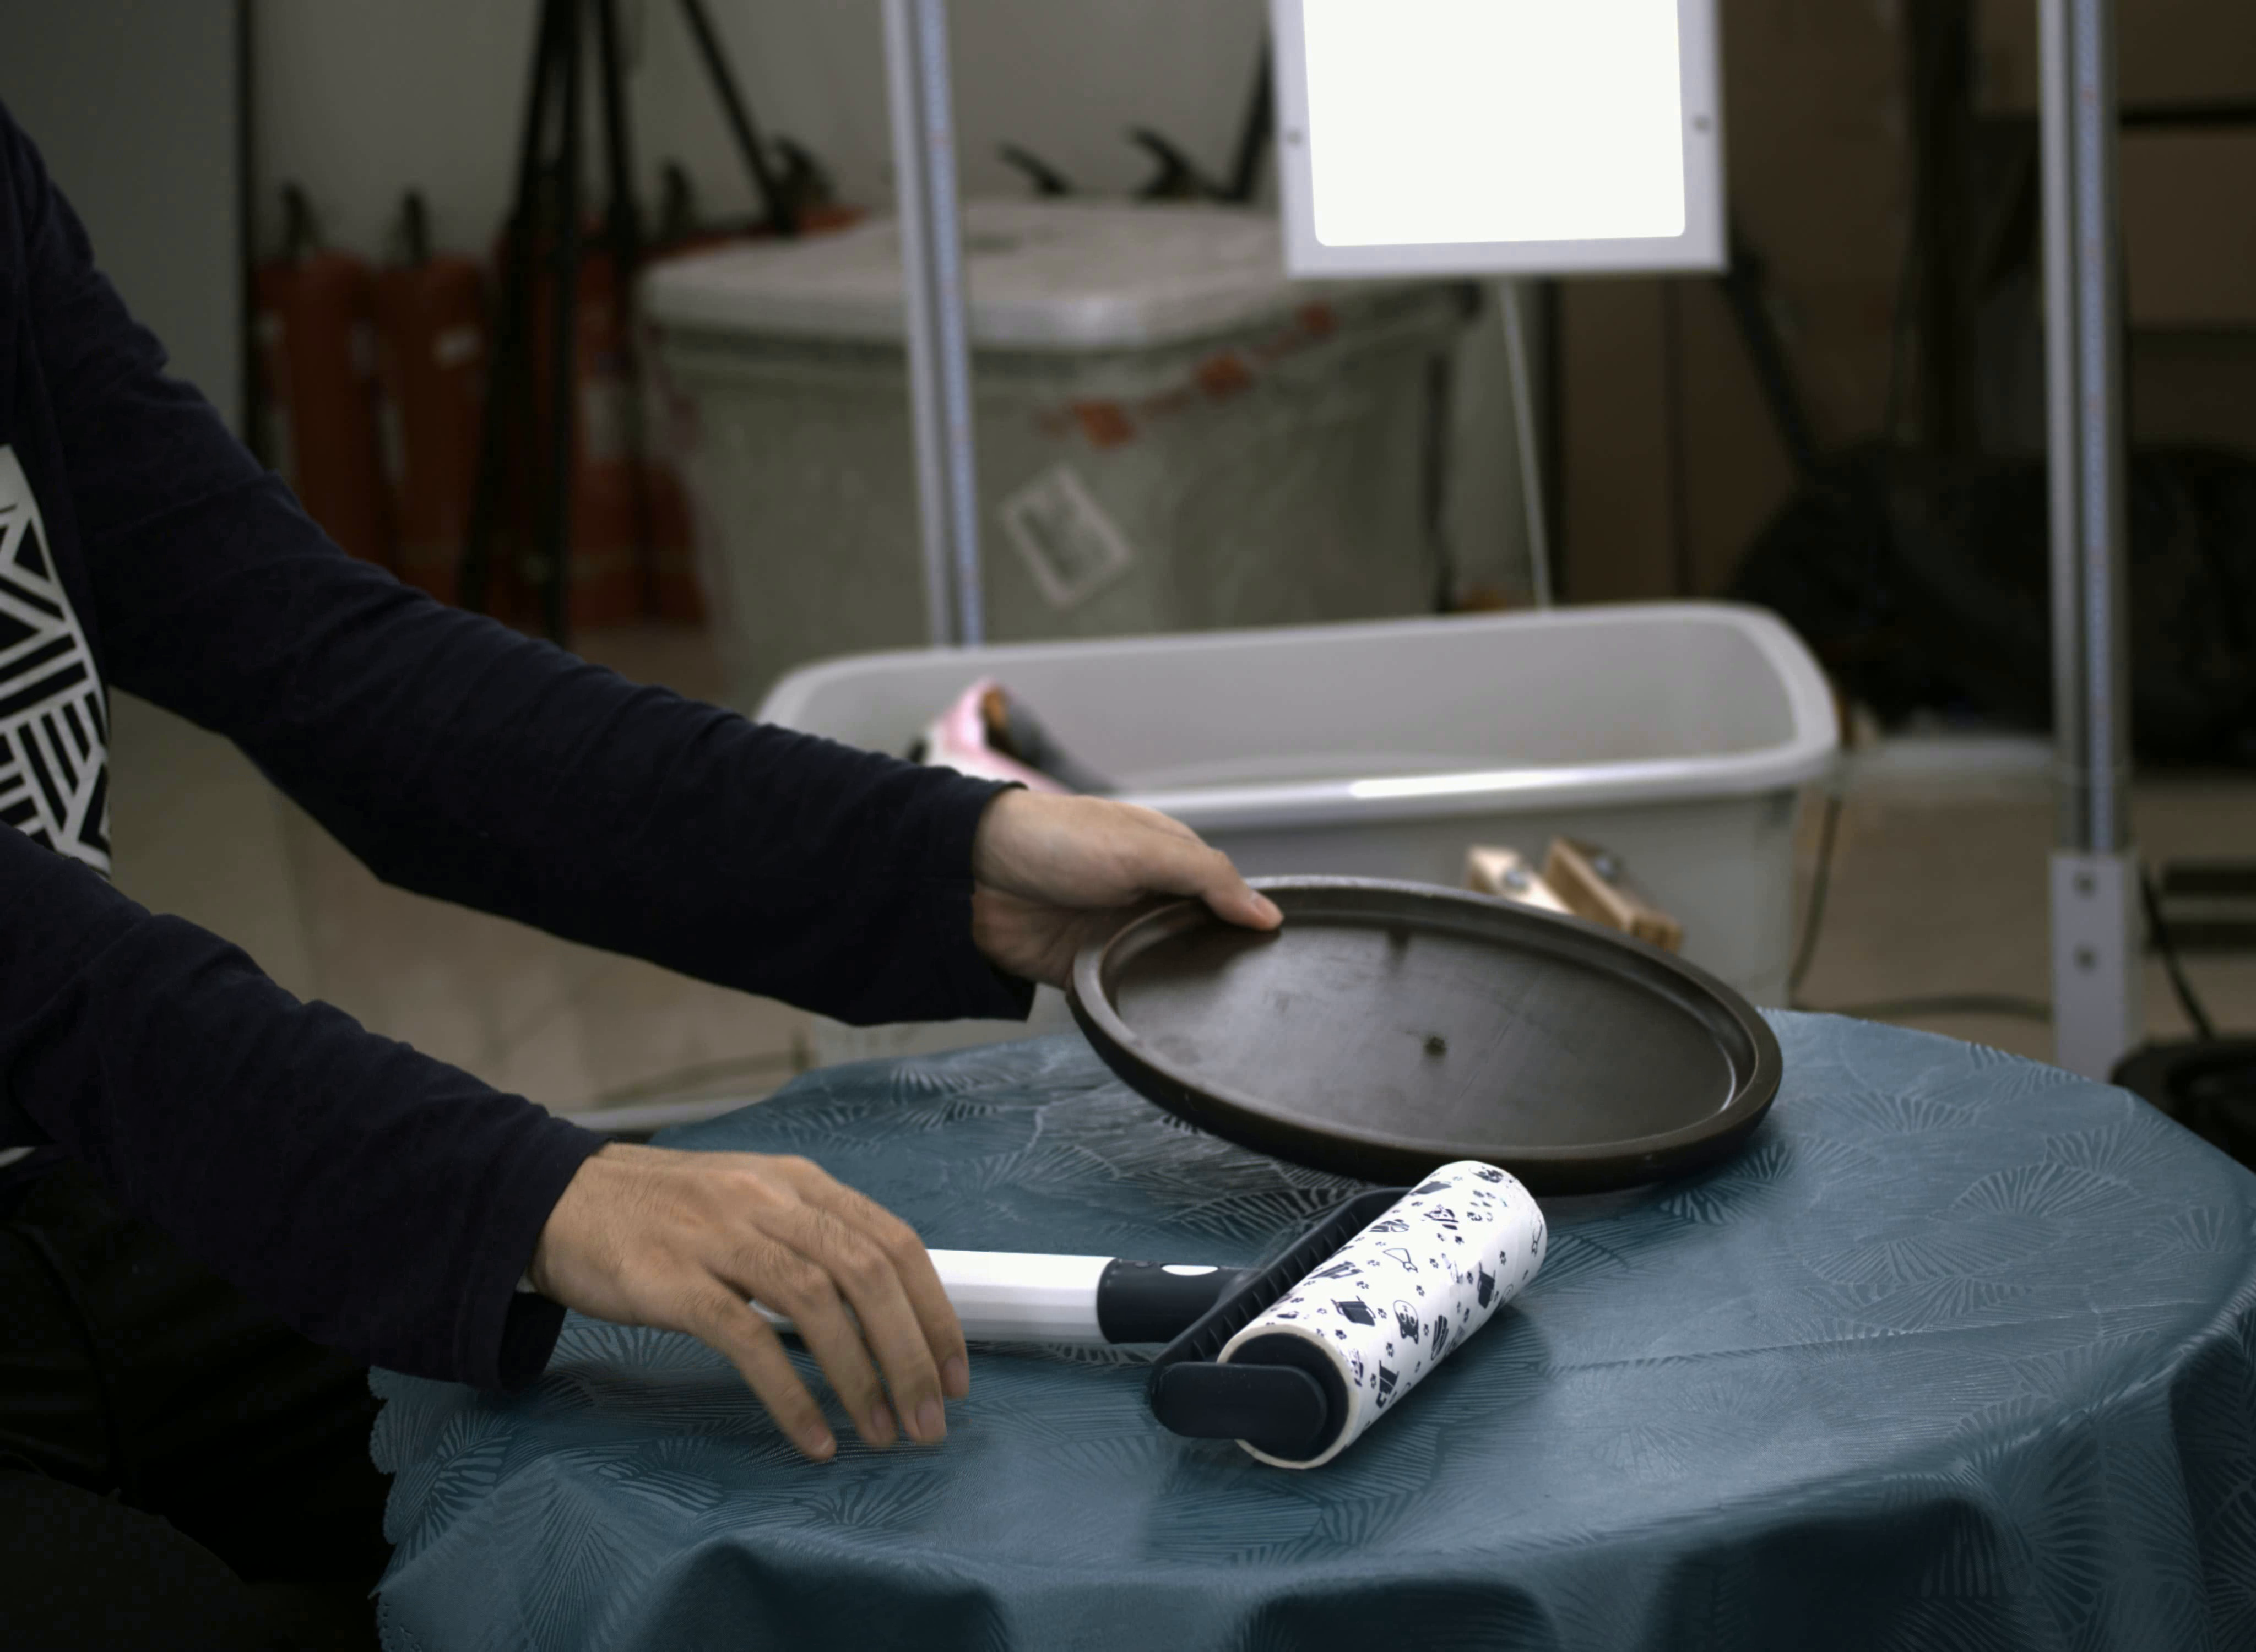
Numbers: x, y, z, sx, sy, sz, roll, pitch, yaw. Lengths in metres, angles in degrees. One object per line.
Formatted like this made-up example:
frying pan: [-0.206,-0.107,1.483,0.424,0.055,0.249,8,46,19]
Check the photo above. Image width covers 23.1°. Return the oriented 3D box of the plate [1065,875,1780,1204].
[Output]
plate: [0.103,0.073,1.934,0.253,0.029,0.254,3,20,-2]

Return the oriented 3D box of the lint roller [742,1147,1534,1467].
lint roller: [-0.014,0.148,1.733,0.251,0.050,0.172,-1,16,27]
